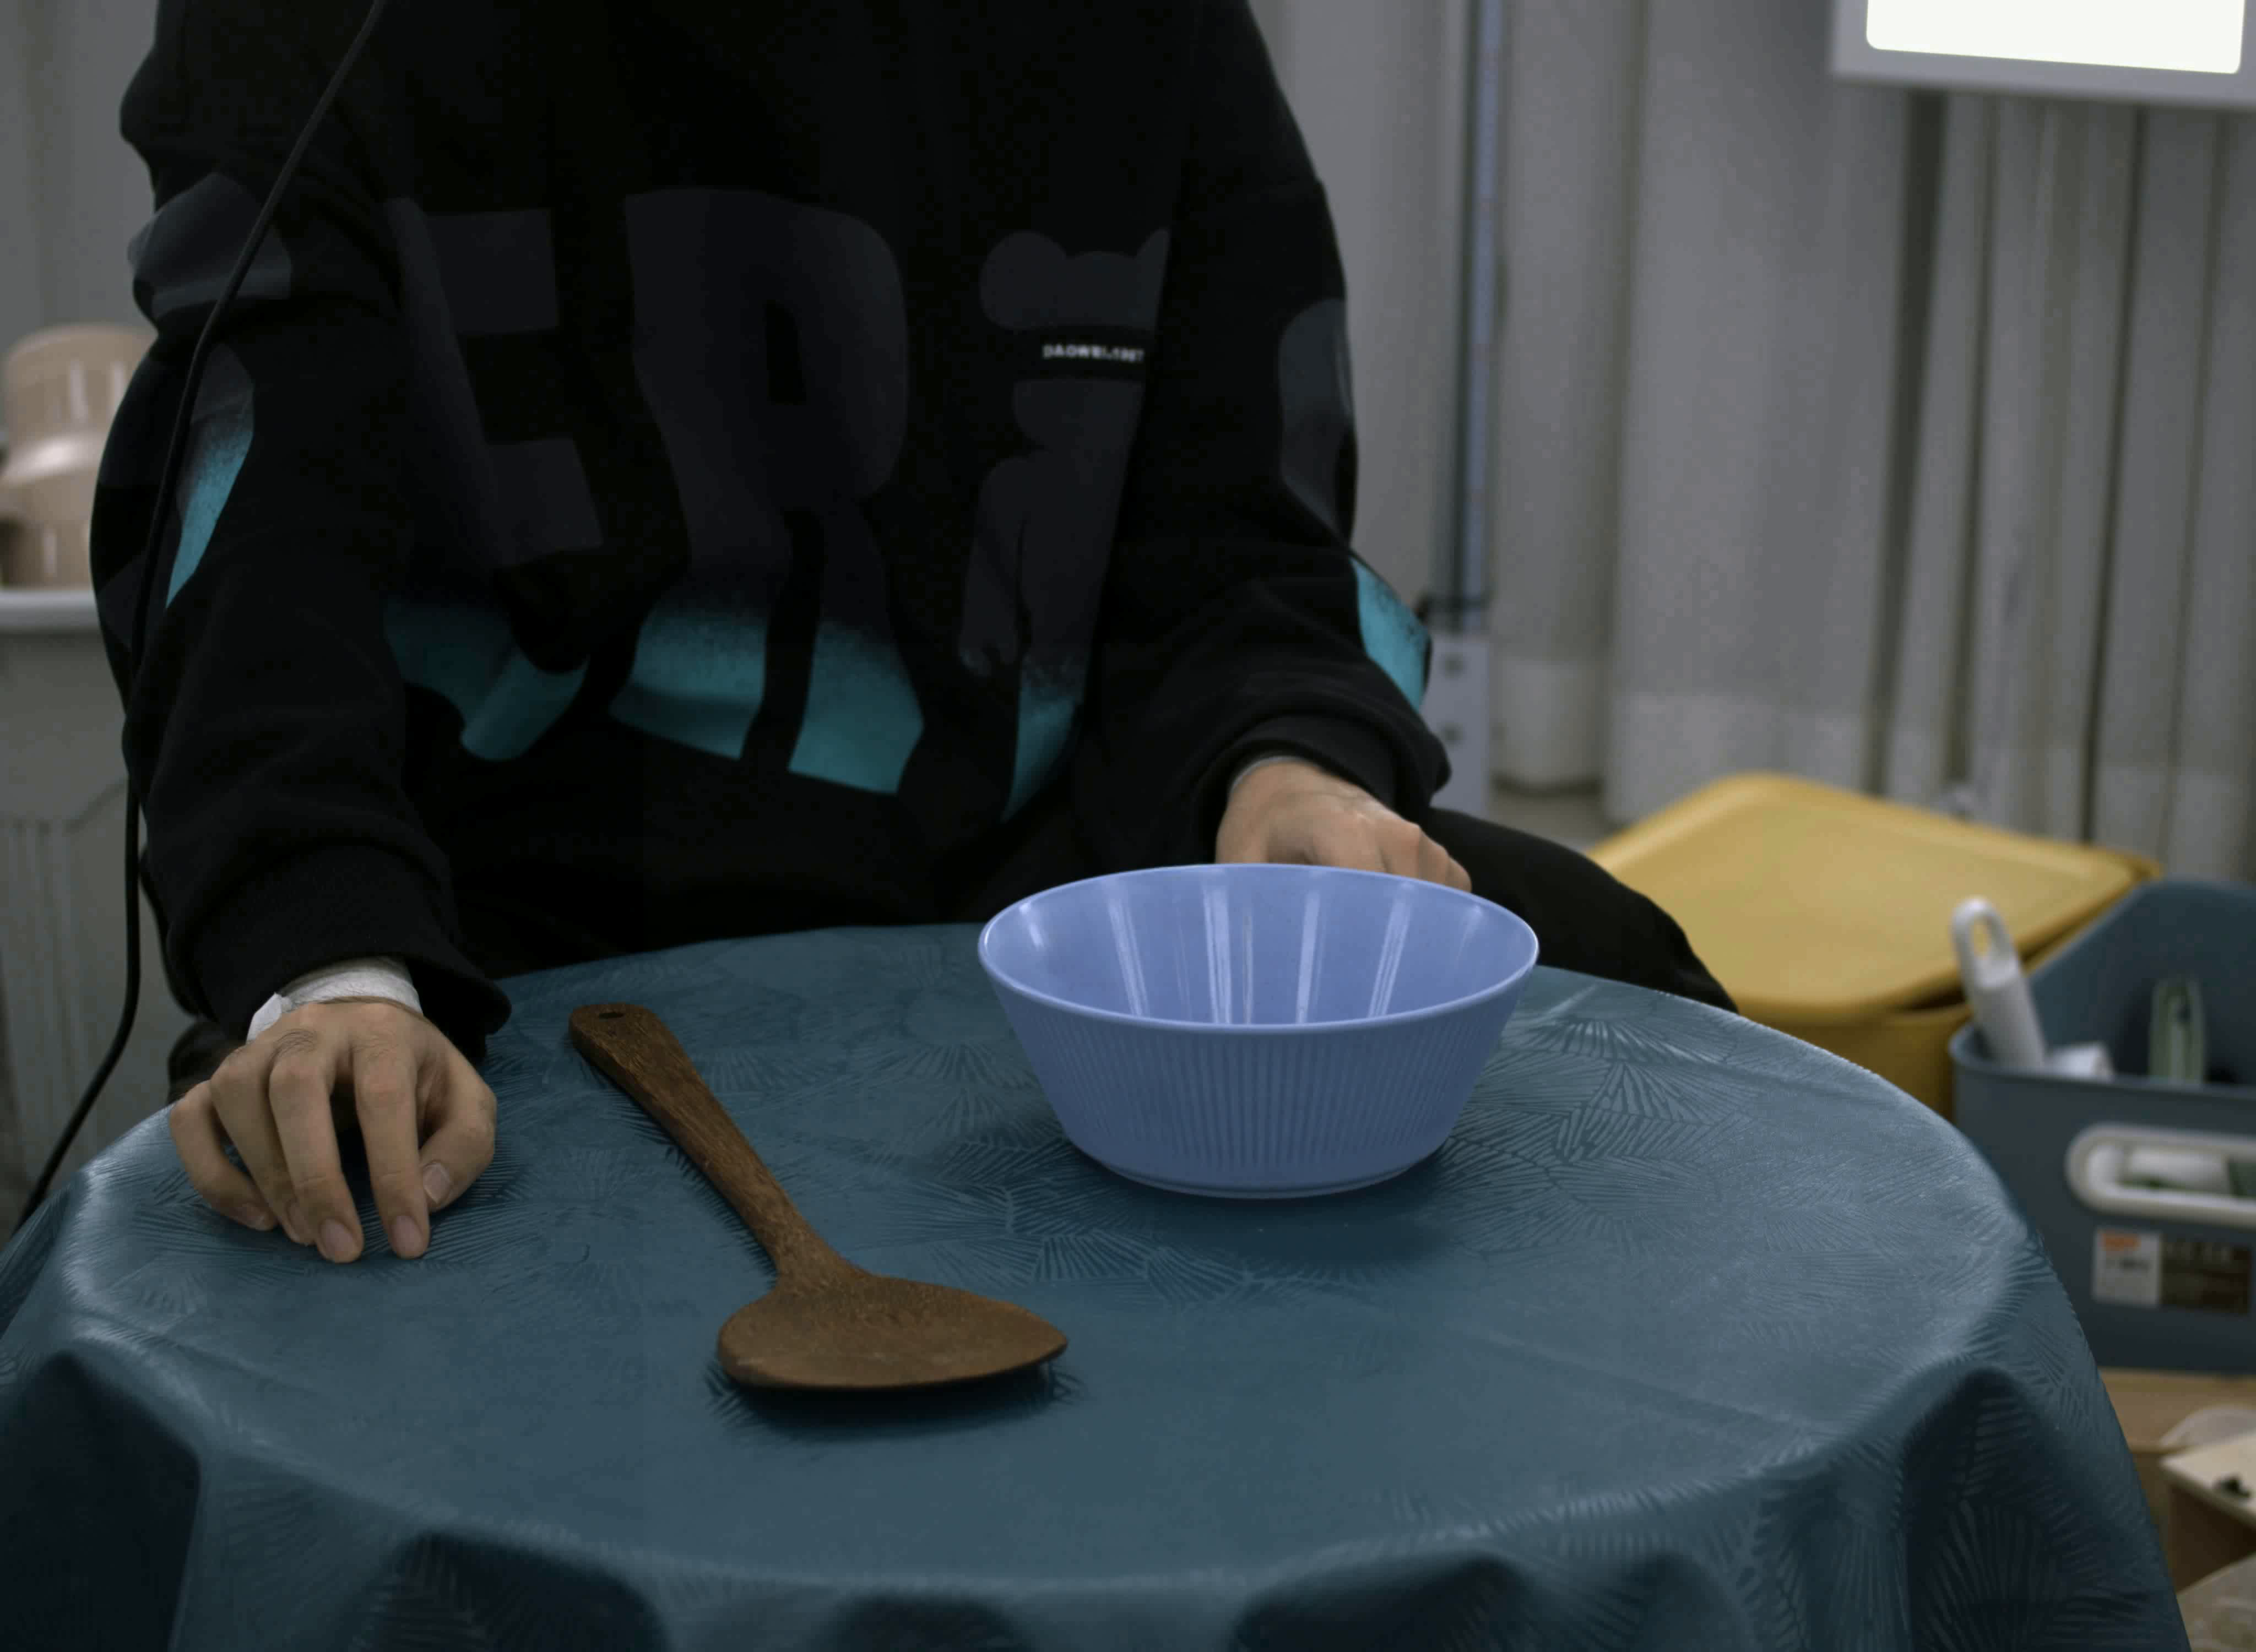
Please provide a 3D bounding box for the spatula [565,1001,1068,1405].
[{"bbox_3d":[-0.118,0.109,1.611,0.096,0.016,0.382,-4,16,-19],"label":"spatula"}]

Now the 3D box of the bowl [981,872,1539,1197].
[{"bbox_3d":[0.042,0.068,1.659,0.175,0.071,0.175,0,15,0],"label":"bowl"}]
